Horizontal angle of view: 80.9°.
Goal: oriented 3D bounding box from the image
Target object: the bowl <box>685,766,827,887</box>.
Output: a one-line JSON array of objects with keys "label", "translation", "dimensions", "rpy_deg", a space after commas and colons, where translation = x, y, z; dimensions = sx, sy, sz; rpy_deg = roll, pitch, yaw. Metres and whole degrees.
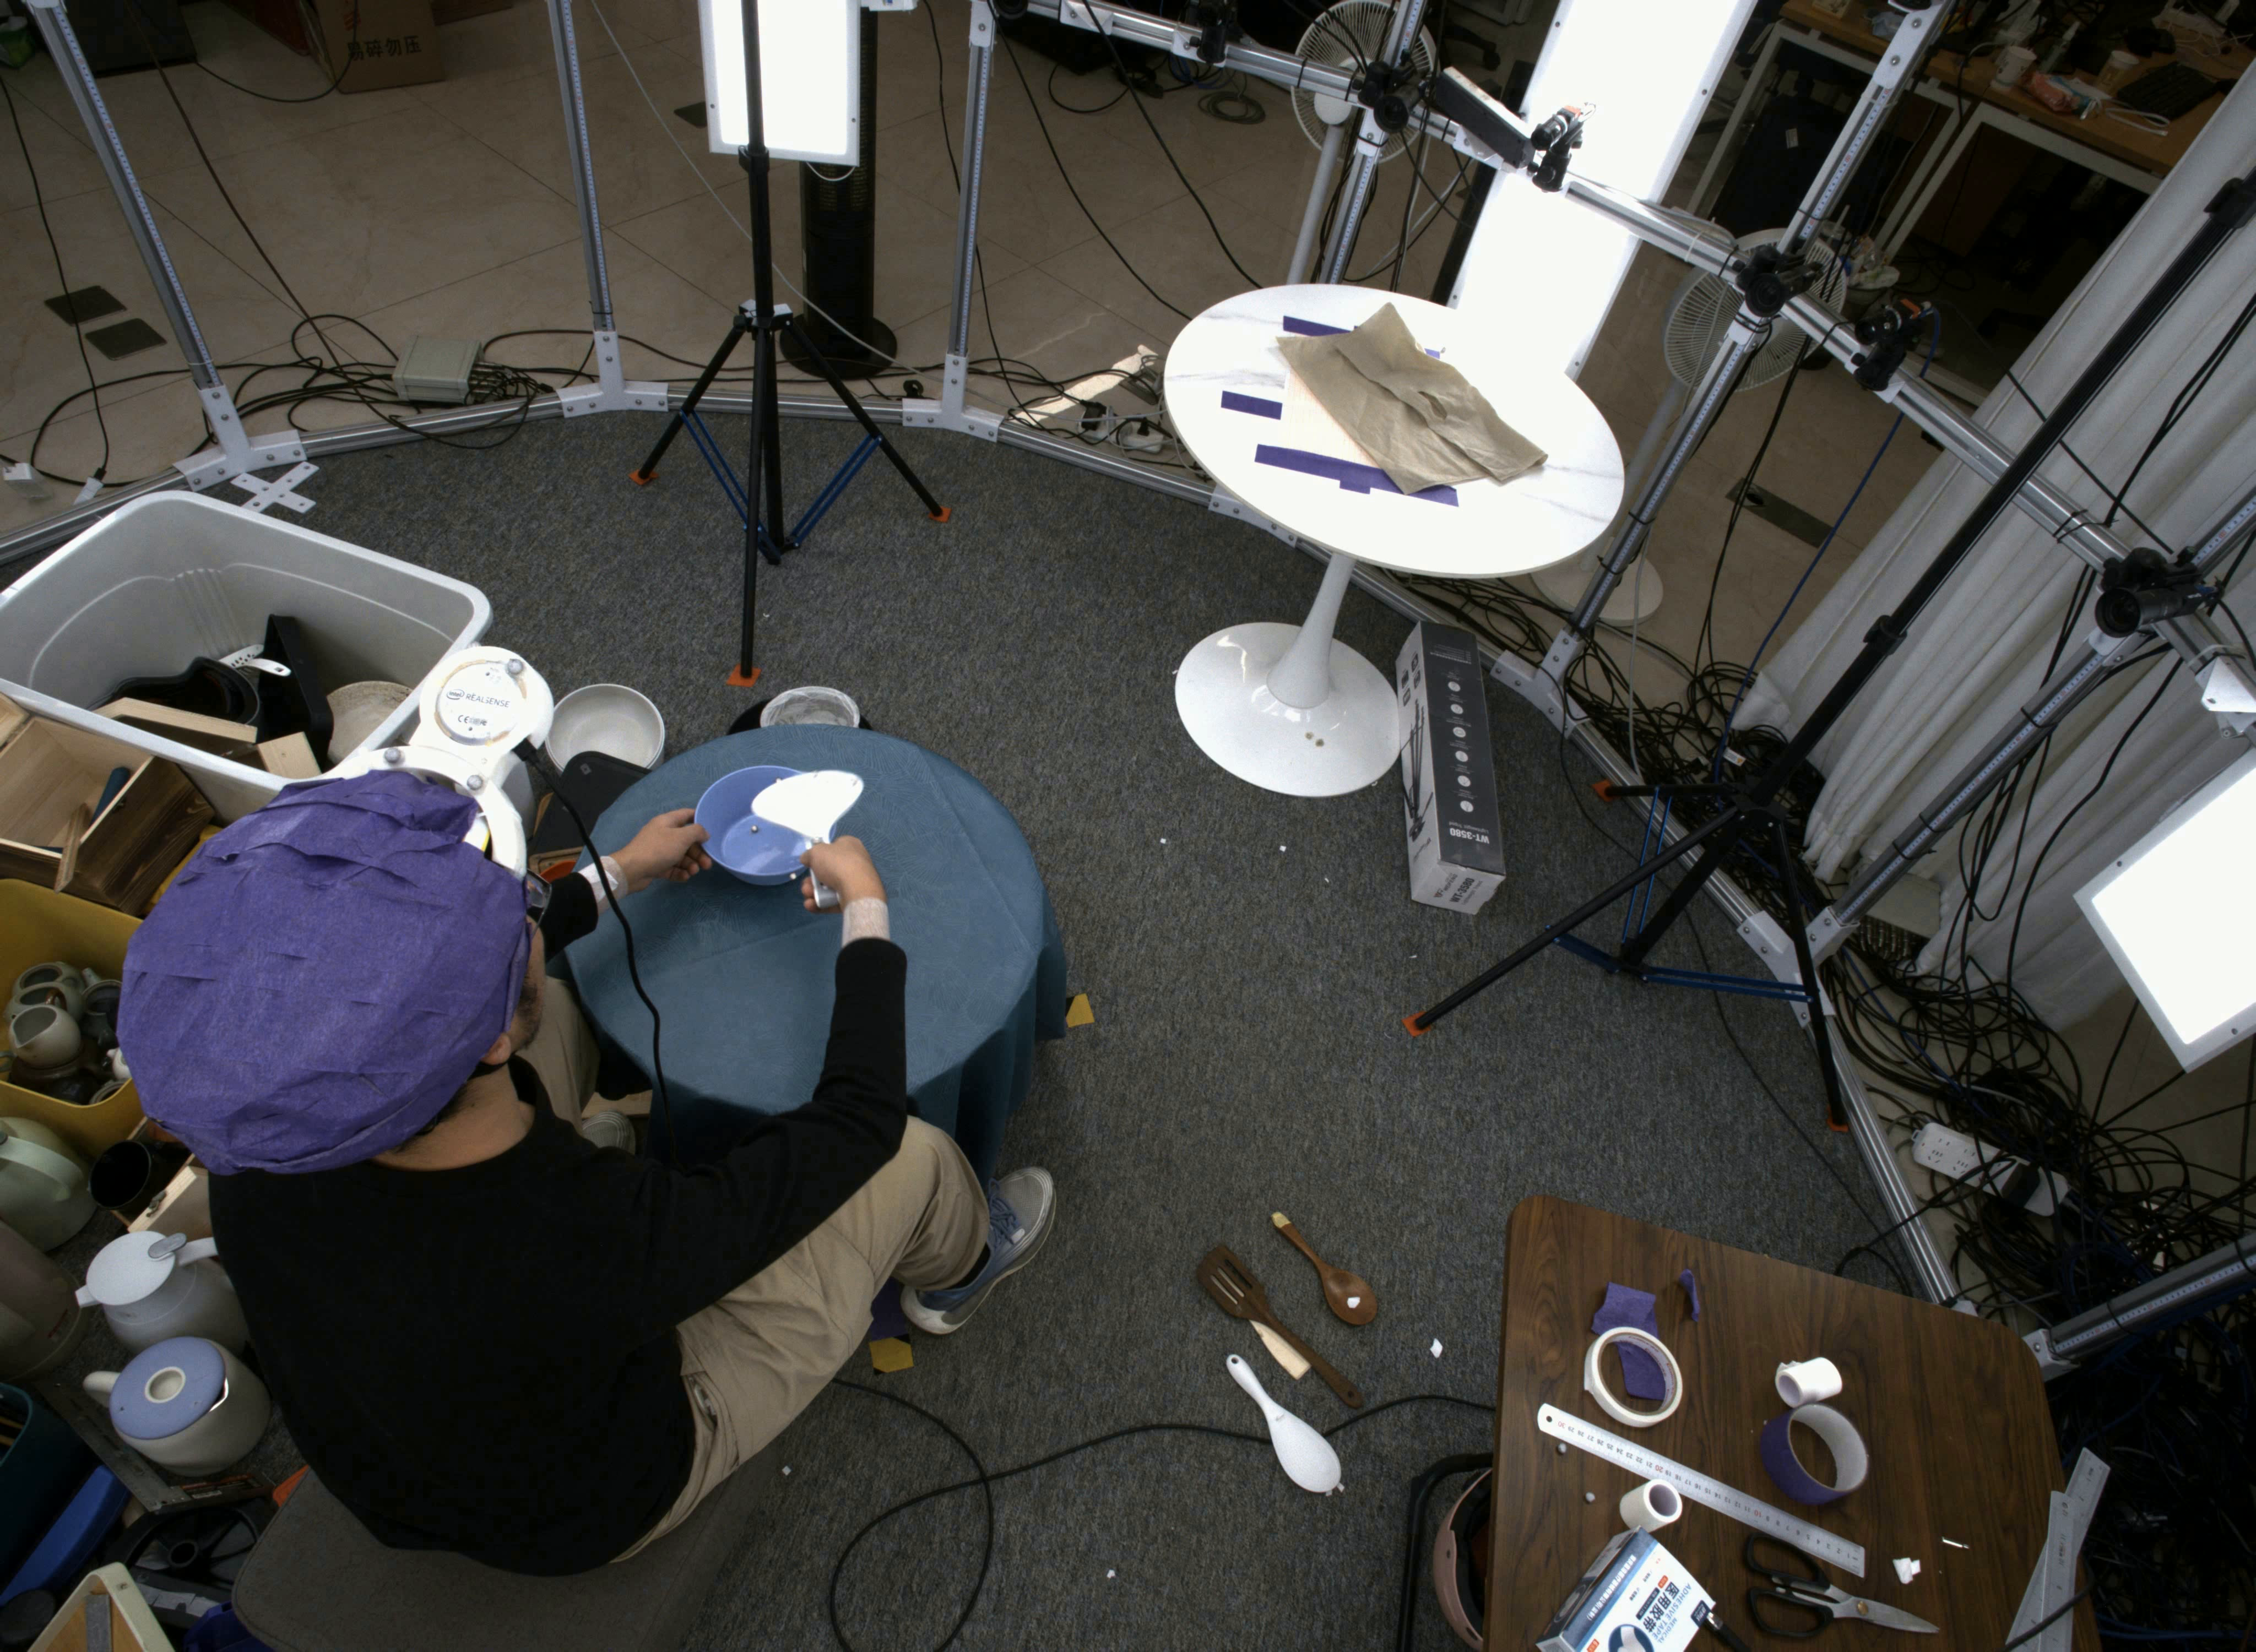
[{"label": "bowl", "translation": [-0.473, 0.010, 1.653], "dimensions": [0.175, 0.072, 0.173], "rpy_deg": [7, 53, -8]}]

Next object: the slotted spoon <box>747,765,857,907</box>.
[{"label": "slotted spoon", "translation": [-0.368, 0.005, 1.503], "dimensions": [0.136, 0.047, 0.339], "rpy_deg": [-12, 24, -13]}]
